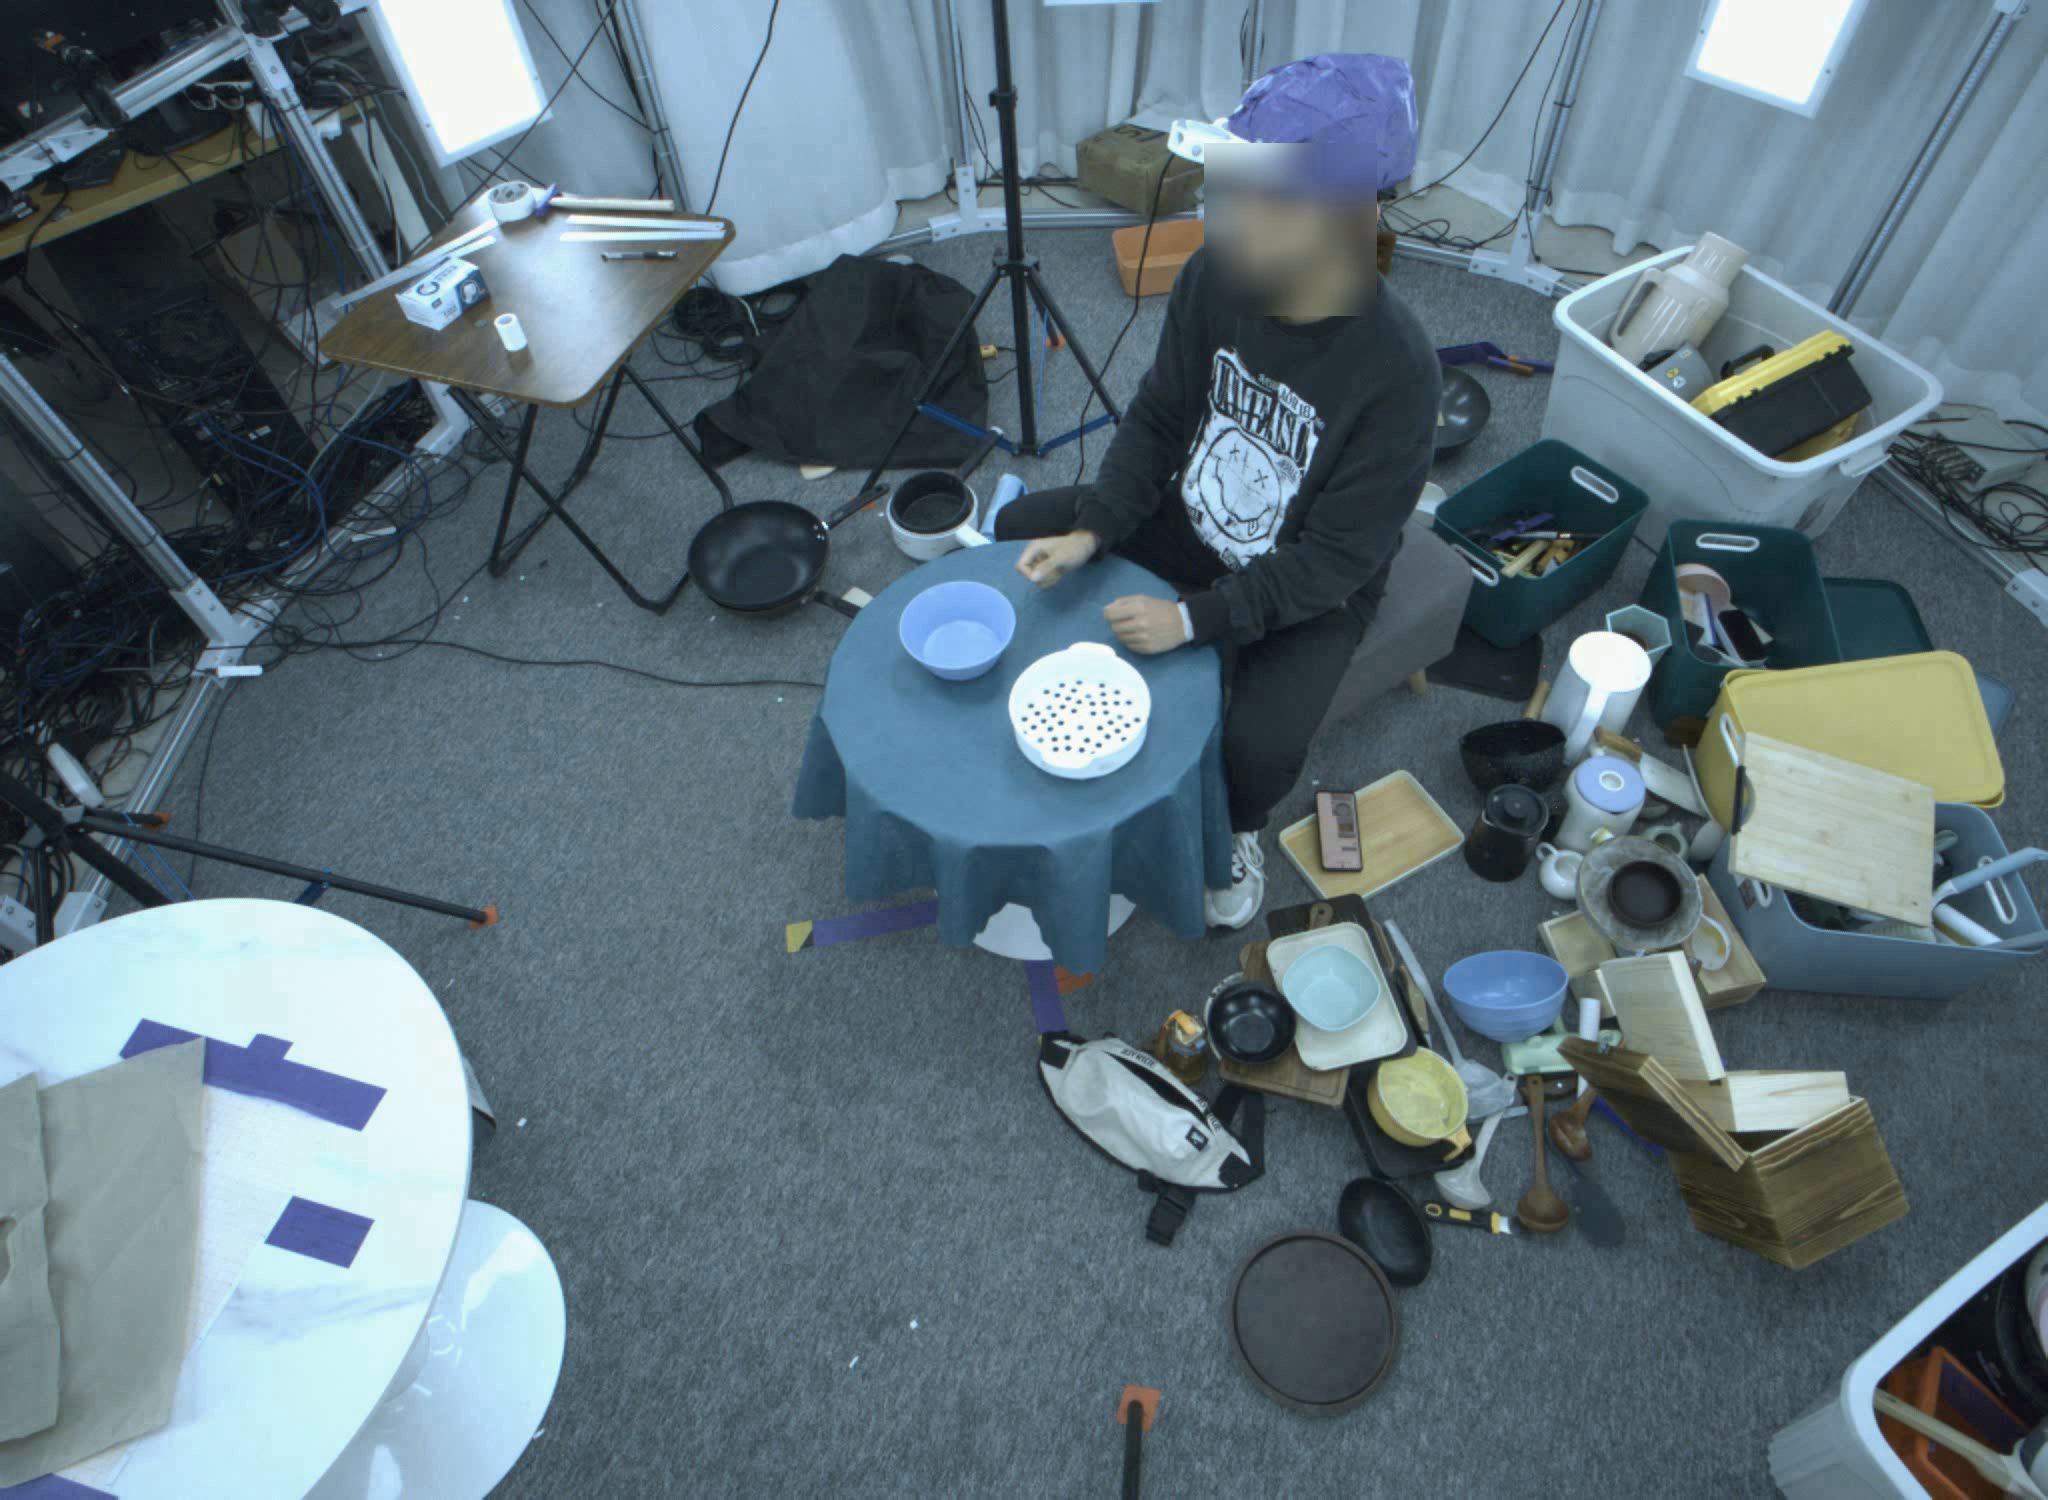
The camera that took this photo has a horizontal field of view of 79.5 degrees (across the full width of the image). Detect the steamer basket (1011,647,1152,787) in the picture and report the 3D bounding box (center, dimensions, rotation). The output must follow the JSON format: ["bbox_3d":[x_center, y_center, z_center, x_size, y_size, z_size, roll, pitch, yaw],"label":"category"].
[{"bbox_3d":[0.084,-0.042,1.782,0.201,0.070,0.229,8,58,8],"label":"steamer basket"}]

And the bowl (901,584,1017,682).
[{"bbox_3d":[-0.098,-0.169,1.876,0.176,0.071,0.174,0,56,1],"label":"bowl"}]
